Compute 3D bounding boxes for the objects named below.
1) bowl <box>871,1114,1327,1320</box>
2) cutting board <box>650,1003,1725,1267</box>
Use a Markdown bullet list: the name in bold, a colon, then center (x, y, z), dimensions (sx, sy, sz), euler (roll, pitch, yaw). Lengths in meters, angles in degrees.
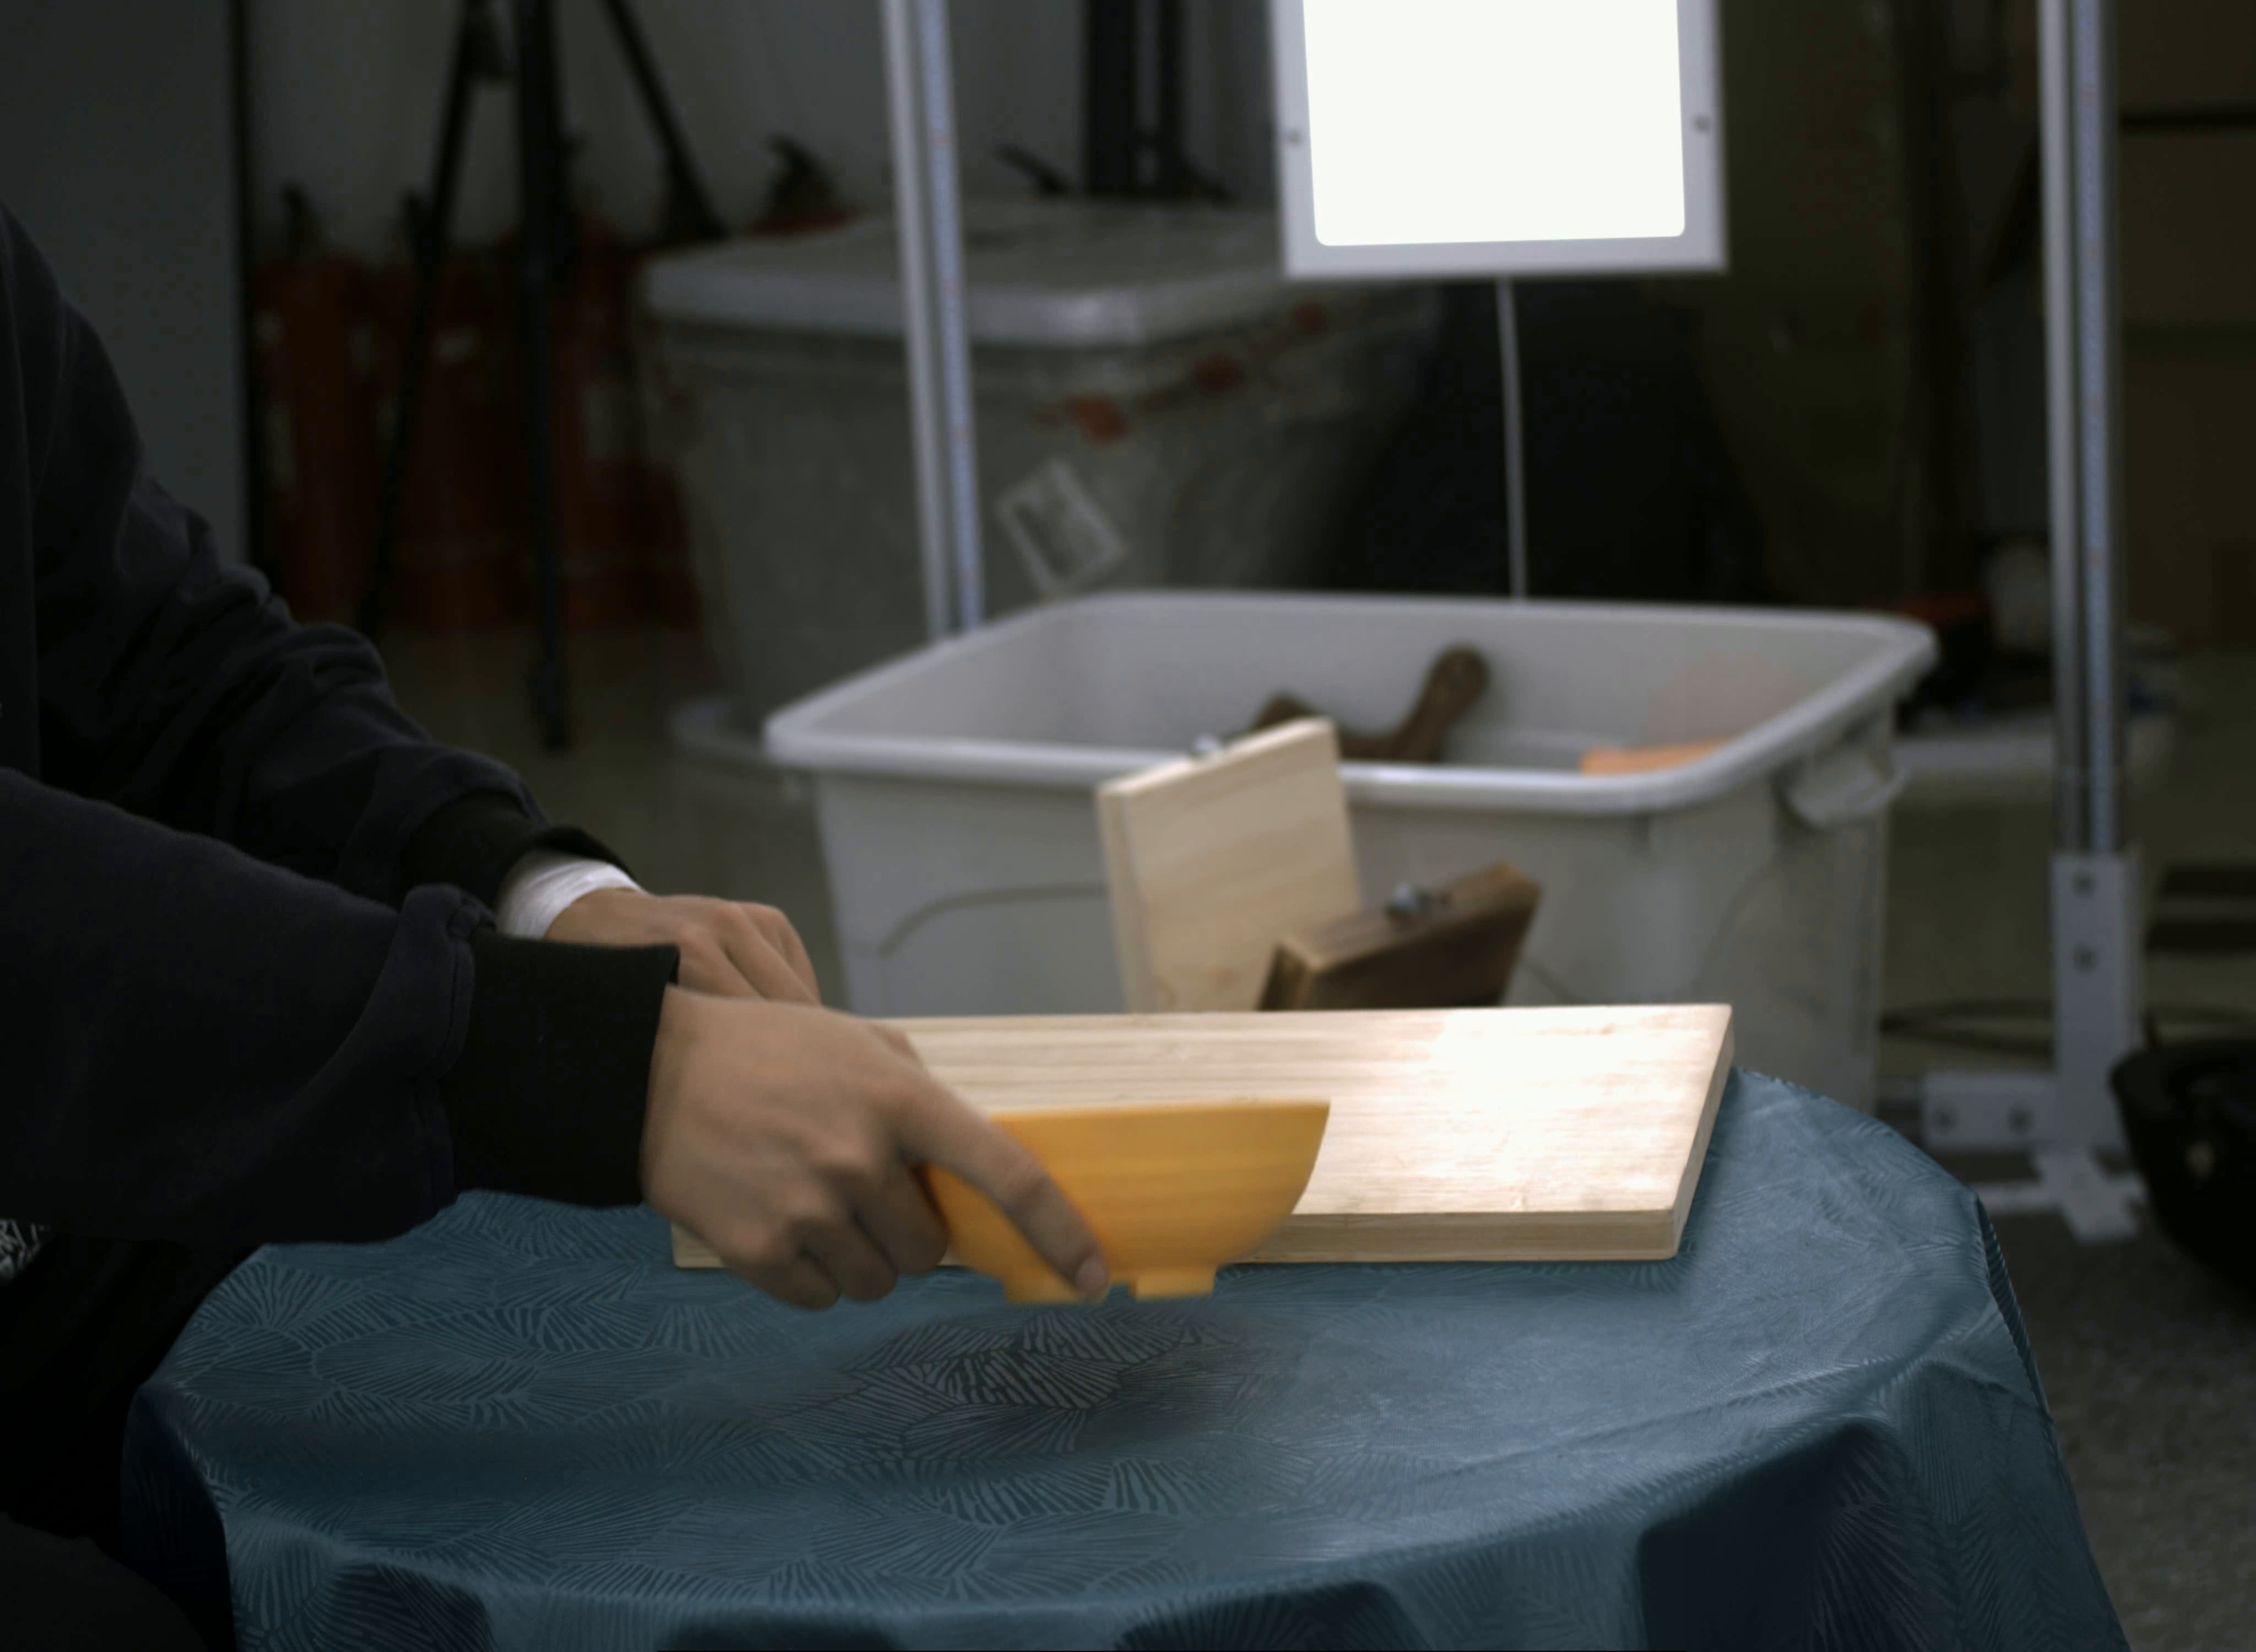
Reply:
- **bowl**: center (-0.008, 0.123, 1.713), dimensions (0.145, 0.060, 0.145), euler (-2, -5, -2)
- **cutting board**: center (0.029, 0.108, 1.930), dimensions (0.351, 0.023, 0.248), euler (-2, 14, 12)
